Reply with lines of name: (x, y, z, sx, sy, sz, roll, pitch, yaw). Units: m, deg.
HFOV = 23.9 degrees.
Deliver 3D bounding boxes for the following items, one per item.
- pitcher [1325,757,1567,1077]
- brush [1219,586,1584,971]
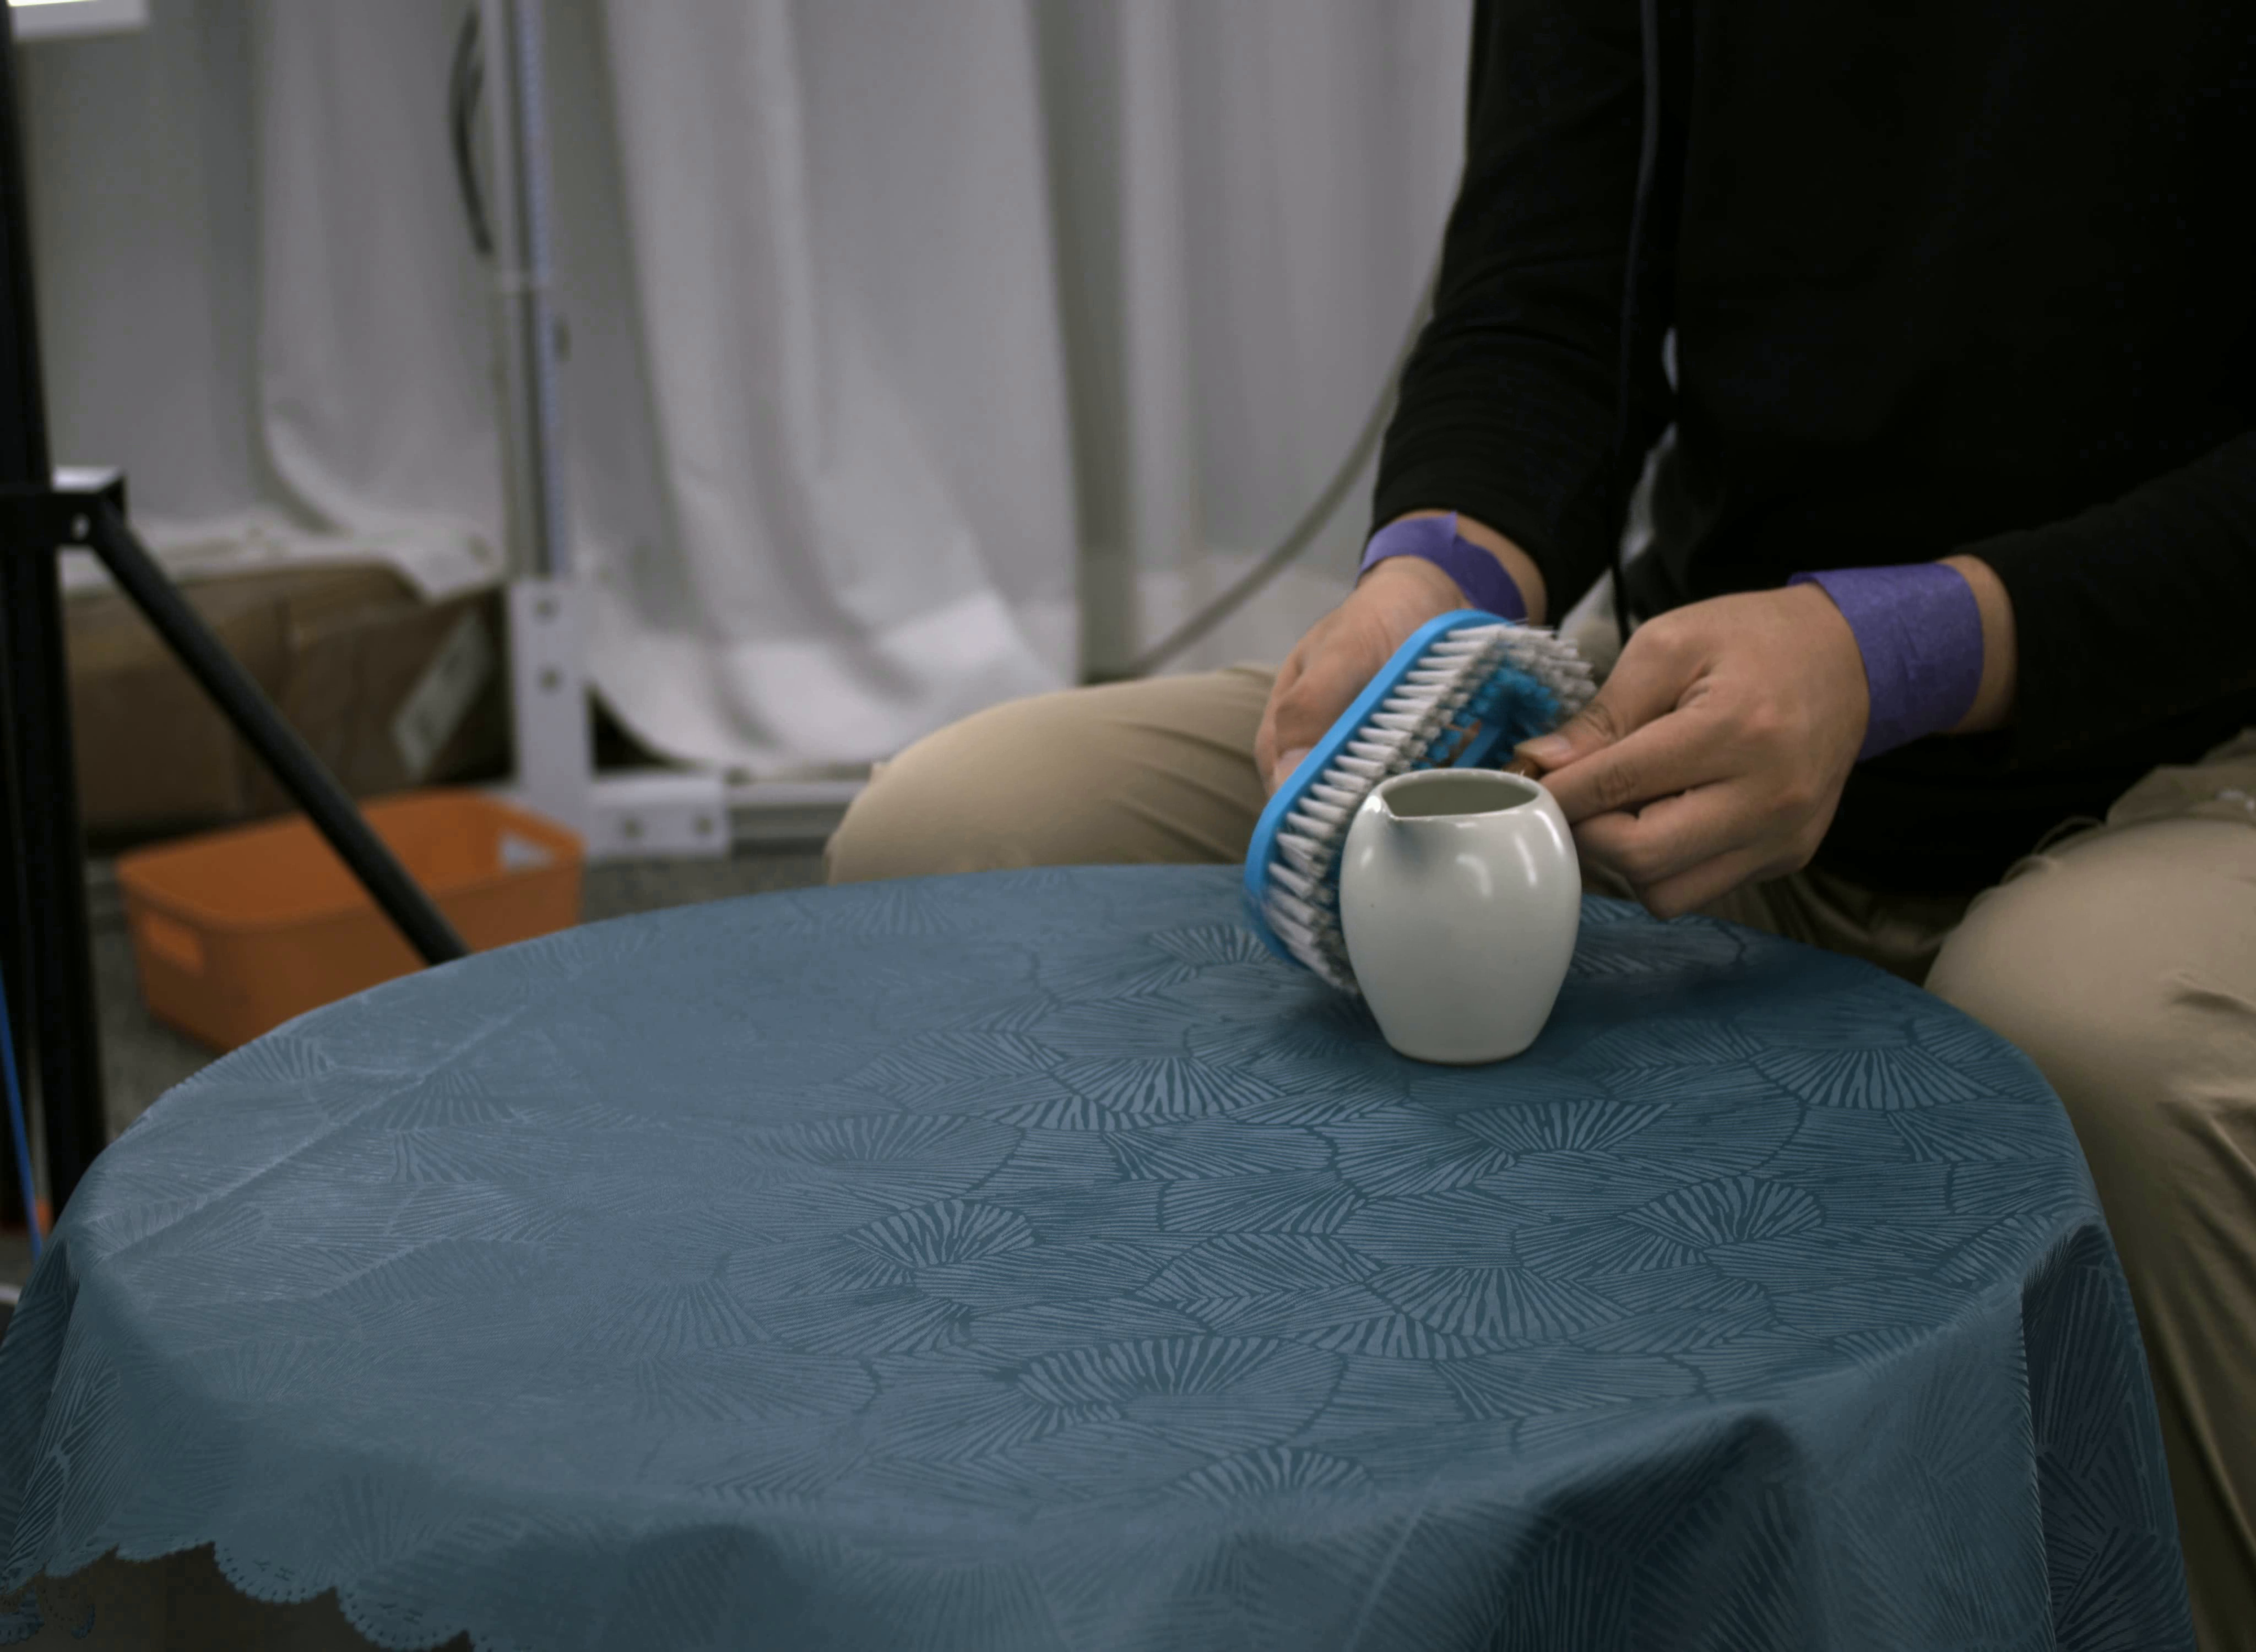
pitcher: (0.103, 0.028, 1.665, 0.077, 0.088, 0.117, 13, 25, 28)
brush: (0.082, -0.014, 1.728, 0.141, 0.083, 0.065, -49, 33, -15)
